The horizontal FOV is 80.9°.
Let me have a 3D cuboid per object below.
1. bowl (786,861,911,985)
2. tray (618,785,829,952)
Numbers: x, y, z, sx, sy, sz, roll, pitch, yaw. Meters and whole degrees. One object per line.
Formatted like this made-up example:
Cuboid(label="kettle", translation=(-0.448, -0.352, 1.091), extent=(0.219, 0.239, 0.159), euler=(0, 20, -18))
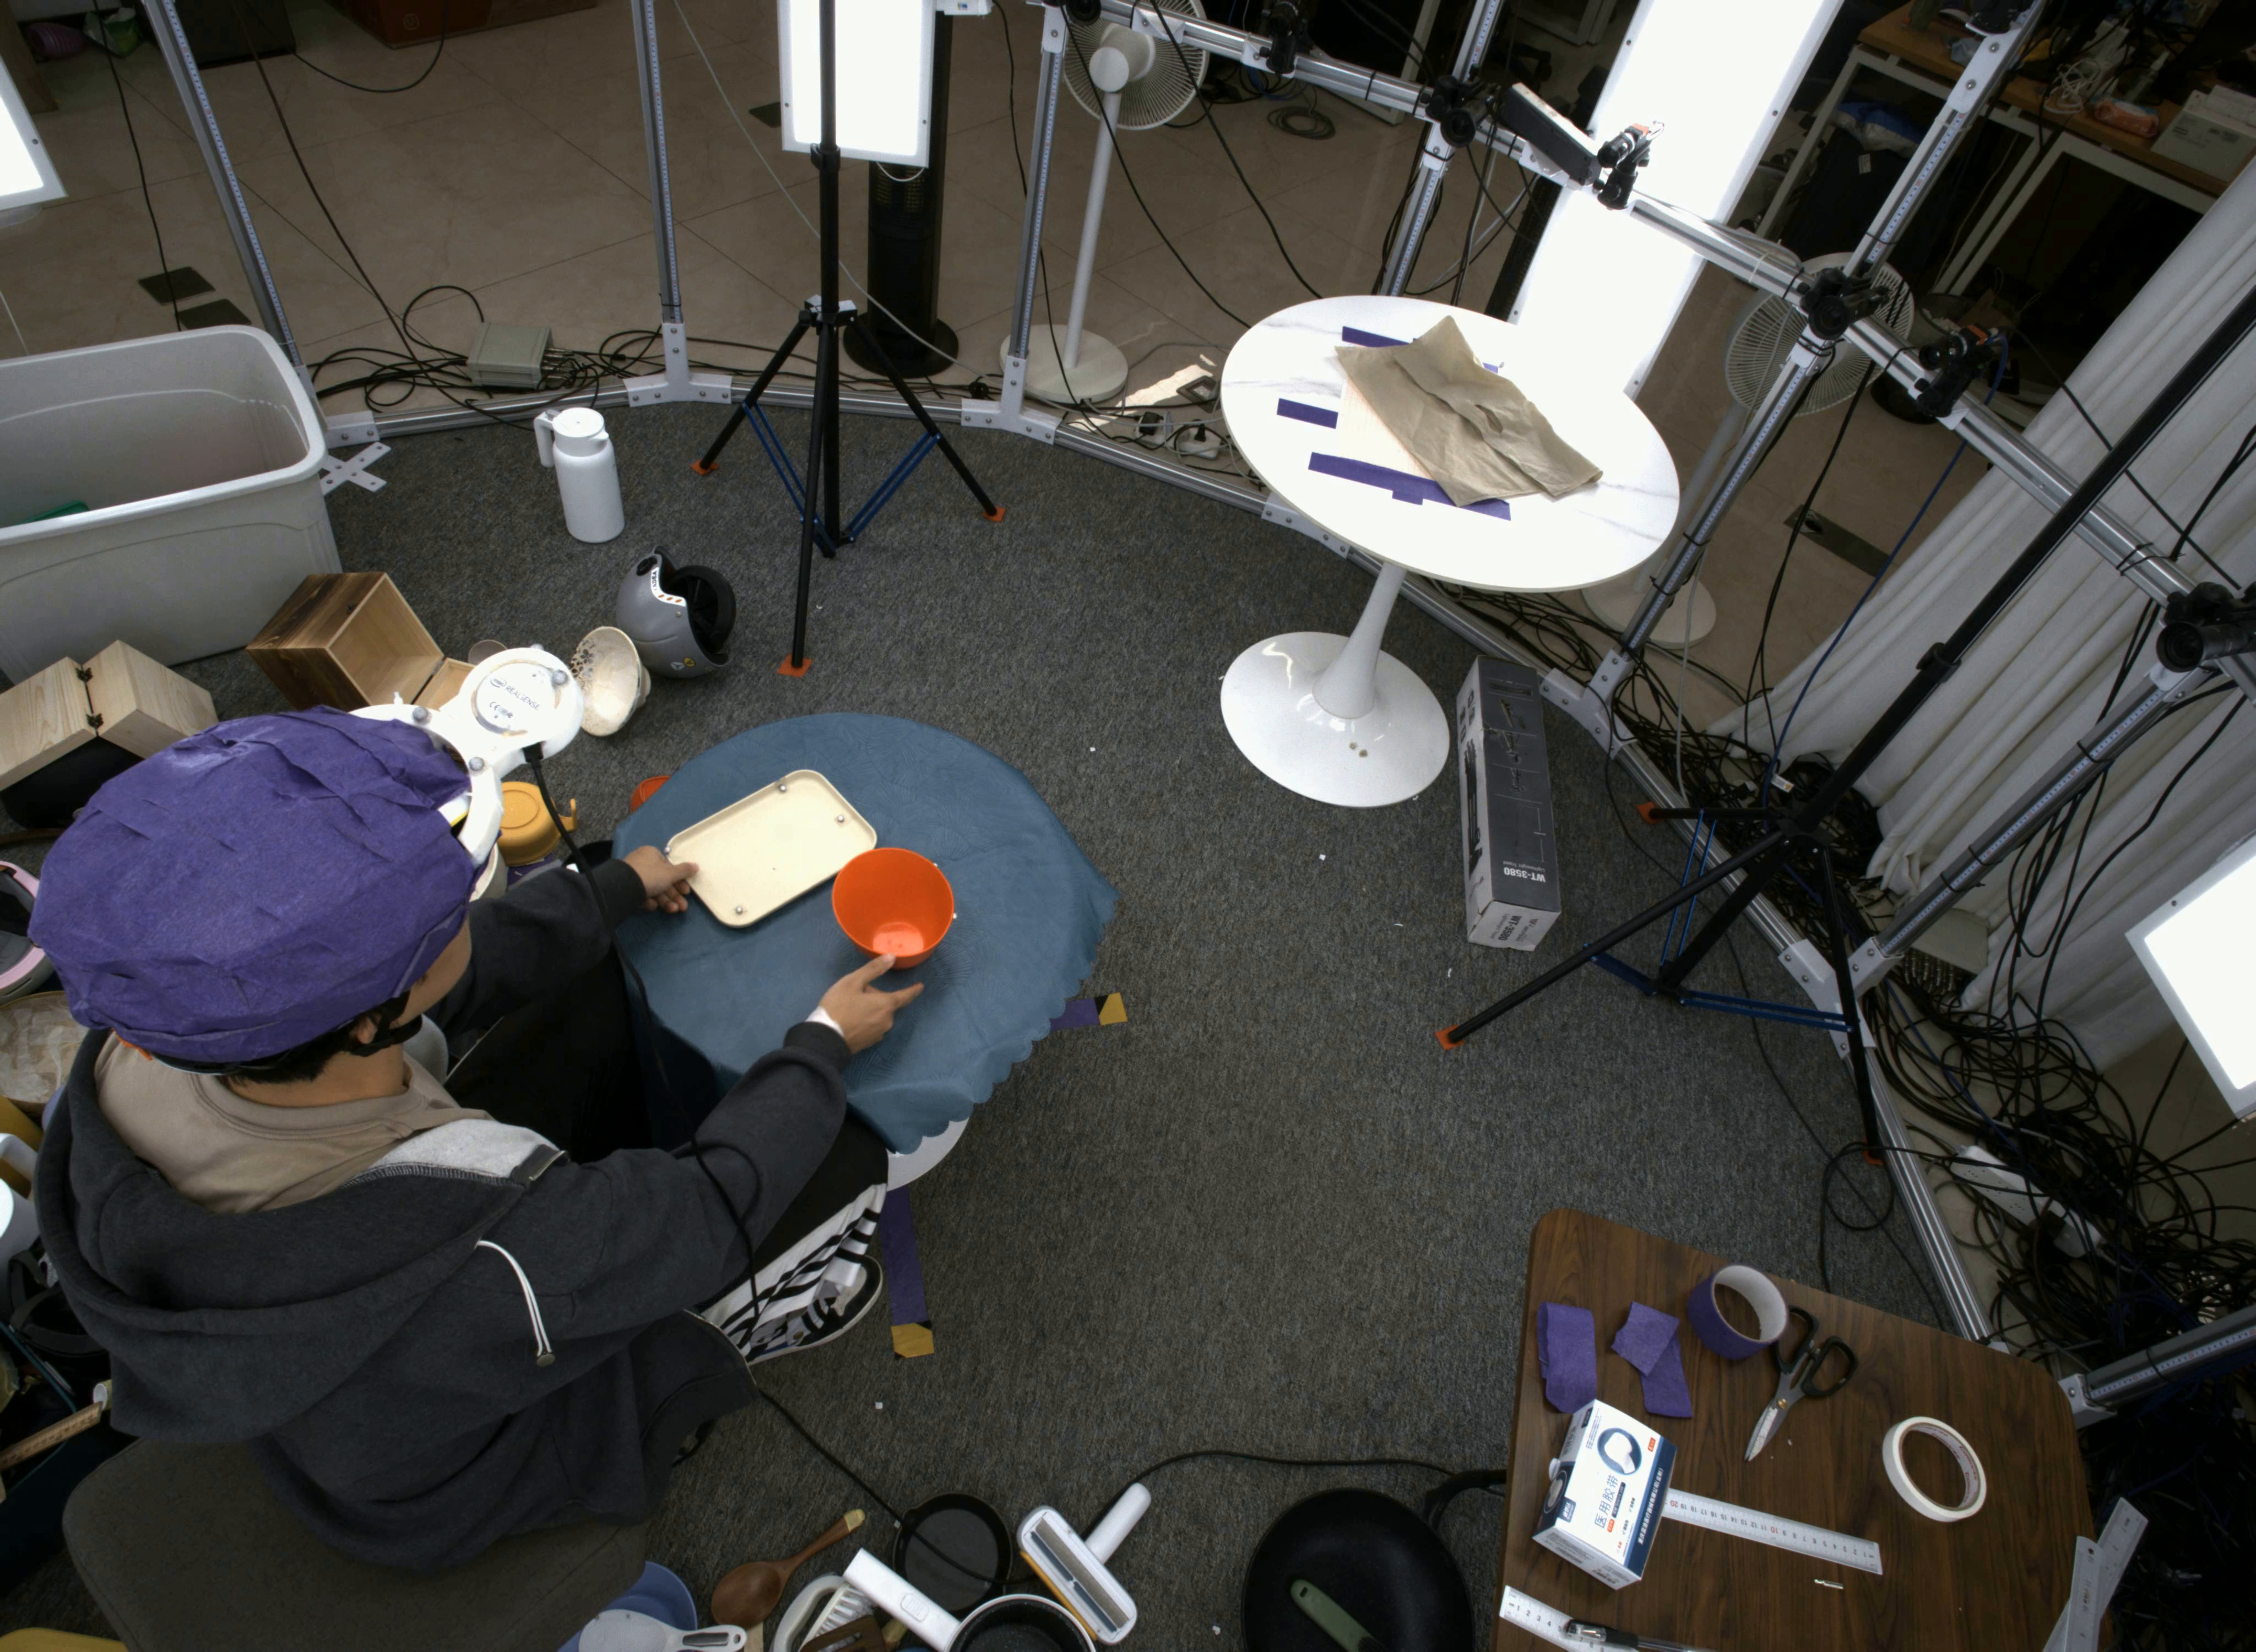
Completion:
Cuboid(label="bowl", translation=(-0.340, 0.129, 1.589), extent=(0.147, 0.107, 0.145), euler=(8, 50, -8))
Cuboid(label="tray", translation=(-0.518, 0.050, 1.656), extent=(0.168, 0.018, 0.240), euler=(41, 55, 16))
